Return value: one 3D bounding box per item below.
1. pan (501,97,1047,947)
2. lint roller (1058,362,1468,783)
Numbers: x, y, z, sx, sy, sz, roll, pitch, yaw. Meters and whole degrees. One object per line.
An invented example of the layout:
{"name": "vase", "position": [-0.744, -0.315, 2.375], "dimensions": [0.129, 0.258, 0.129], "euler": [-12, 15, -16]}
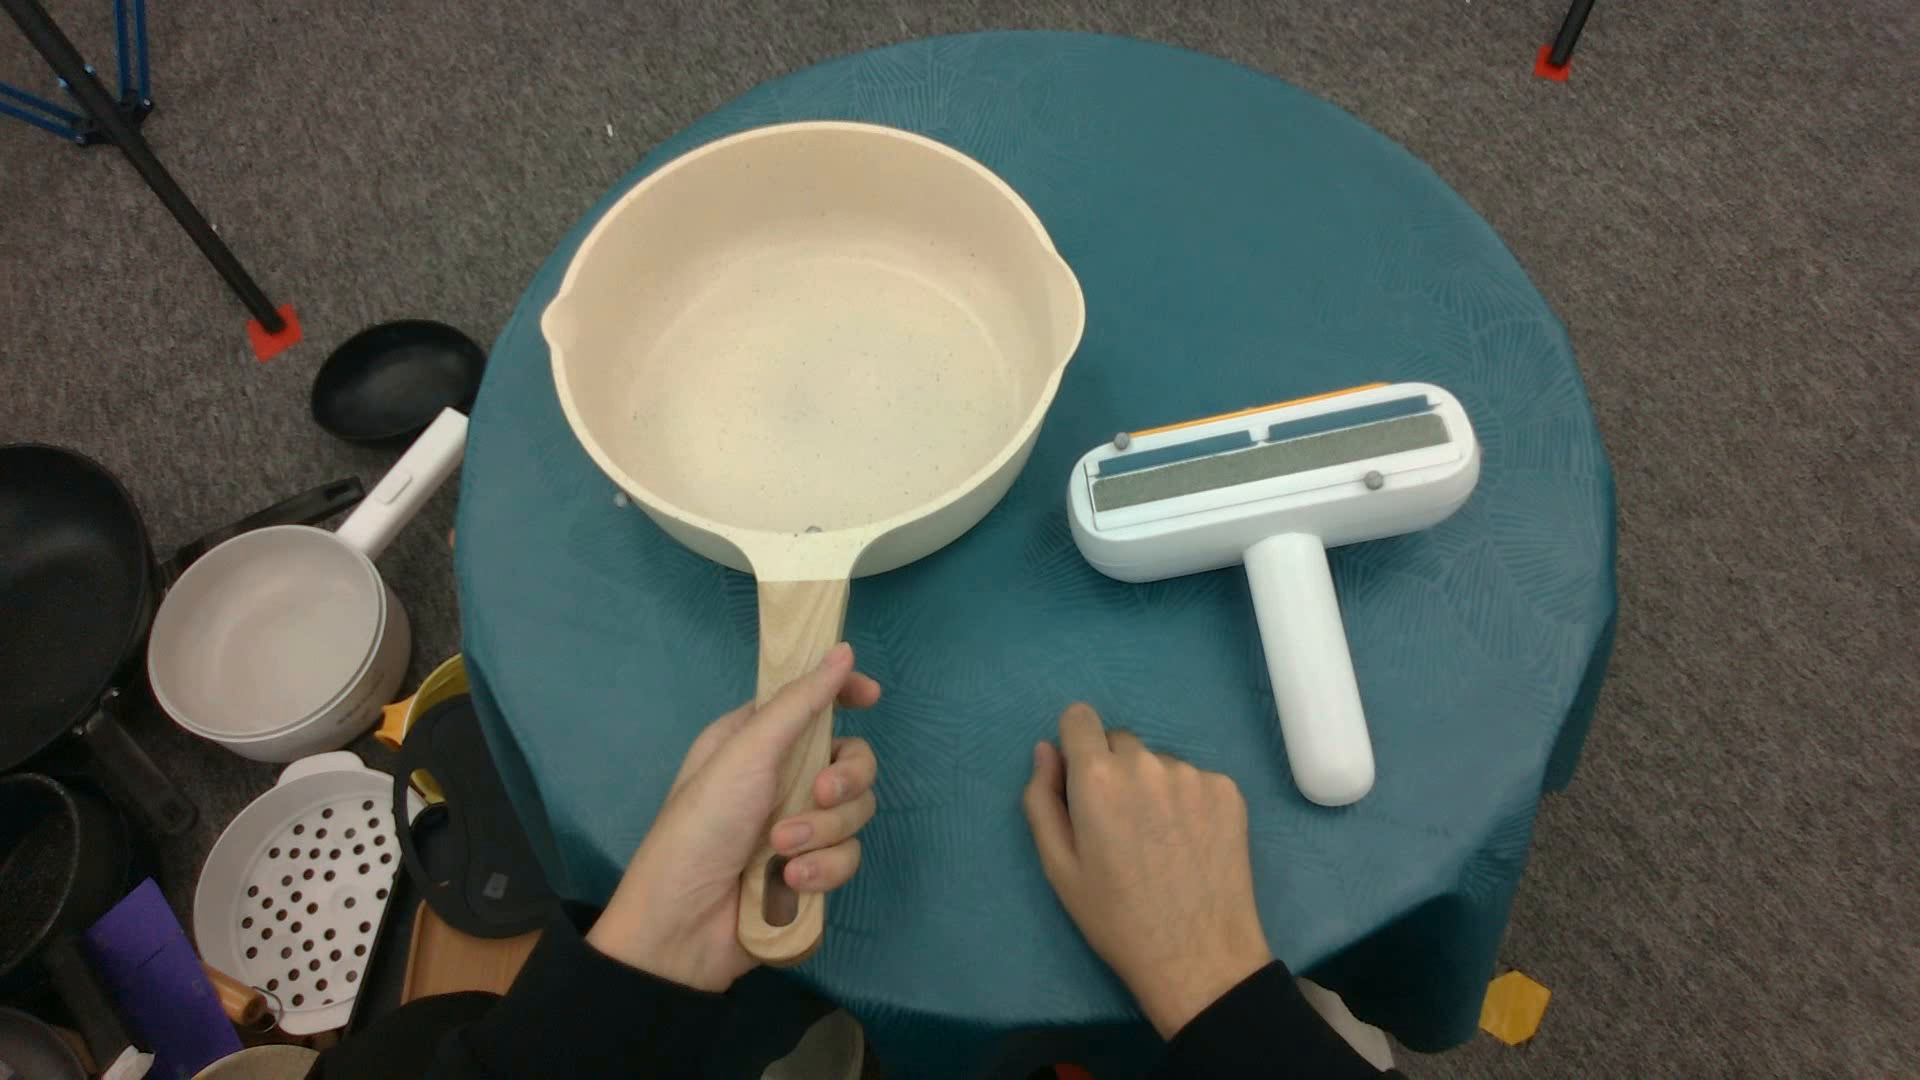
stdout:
{"name": "pan", "position": [-0.085, -0.024, 0.651], "dimensions": [0.263, 0.101, 0.436], "euler": [-1, 63, -3]}
{"name": "lint roller", "position": [0.149, 0.015, 0.649], "dimensions": [0.193, 0.074, 0.193], "euler": [-6, 65, 3]}
